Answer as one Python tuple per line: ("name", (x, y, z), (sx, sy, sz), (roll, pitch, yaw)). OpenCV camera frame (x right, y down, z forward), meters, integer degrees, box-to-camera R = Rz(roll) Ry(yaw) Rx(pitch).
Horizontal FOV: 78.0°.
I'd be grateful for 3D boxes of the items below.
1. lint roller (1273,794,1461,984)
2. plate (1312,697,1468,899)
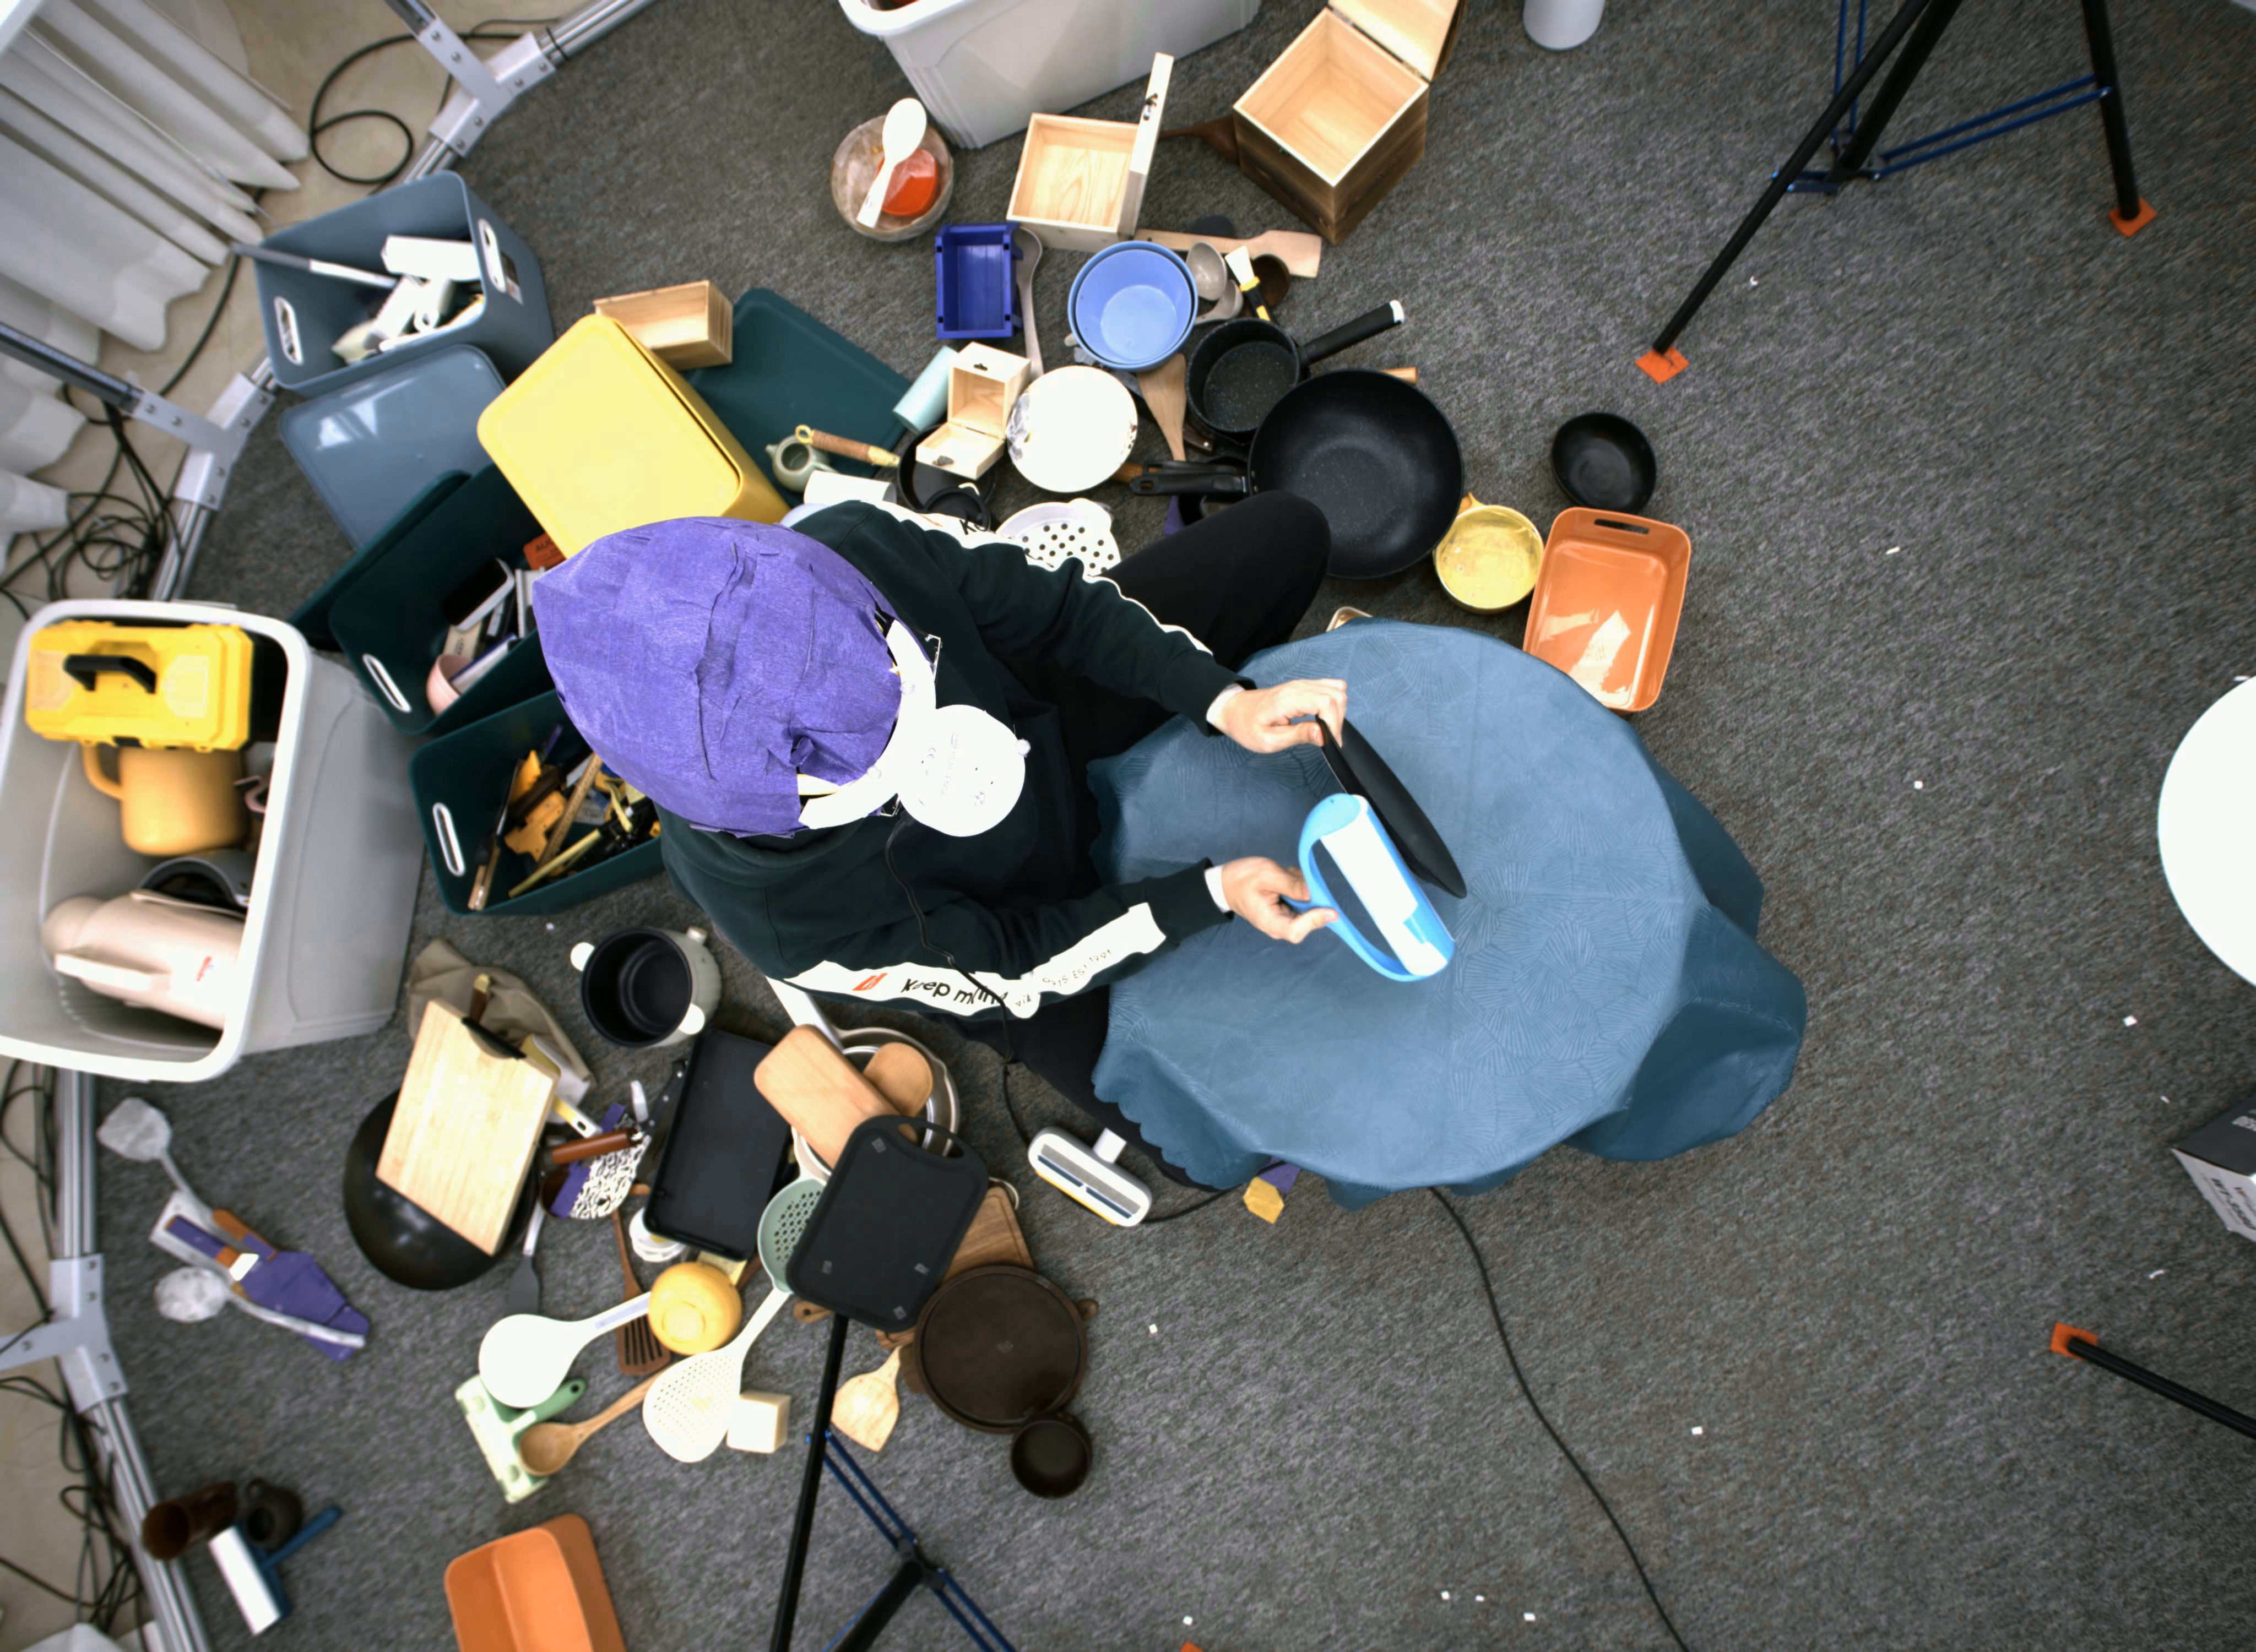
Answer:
("lint roller", (0.201, 0.063, 1.310), (0.182, 0.232, 0.066), (-6, 44, 47))
("plate", (0.250, -0.025, 1.347), (0.024, 0.242, 0.243), (-38, 80, 17))
